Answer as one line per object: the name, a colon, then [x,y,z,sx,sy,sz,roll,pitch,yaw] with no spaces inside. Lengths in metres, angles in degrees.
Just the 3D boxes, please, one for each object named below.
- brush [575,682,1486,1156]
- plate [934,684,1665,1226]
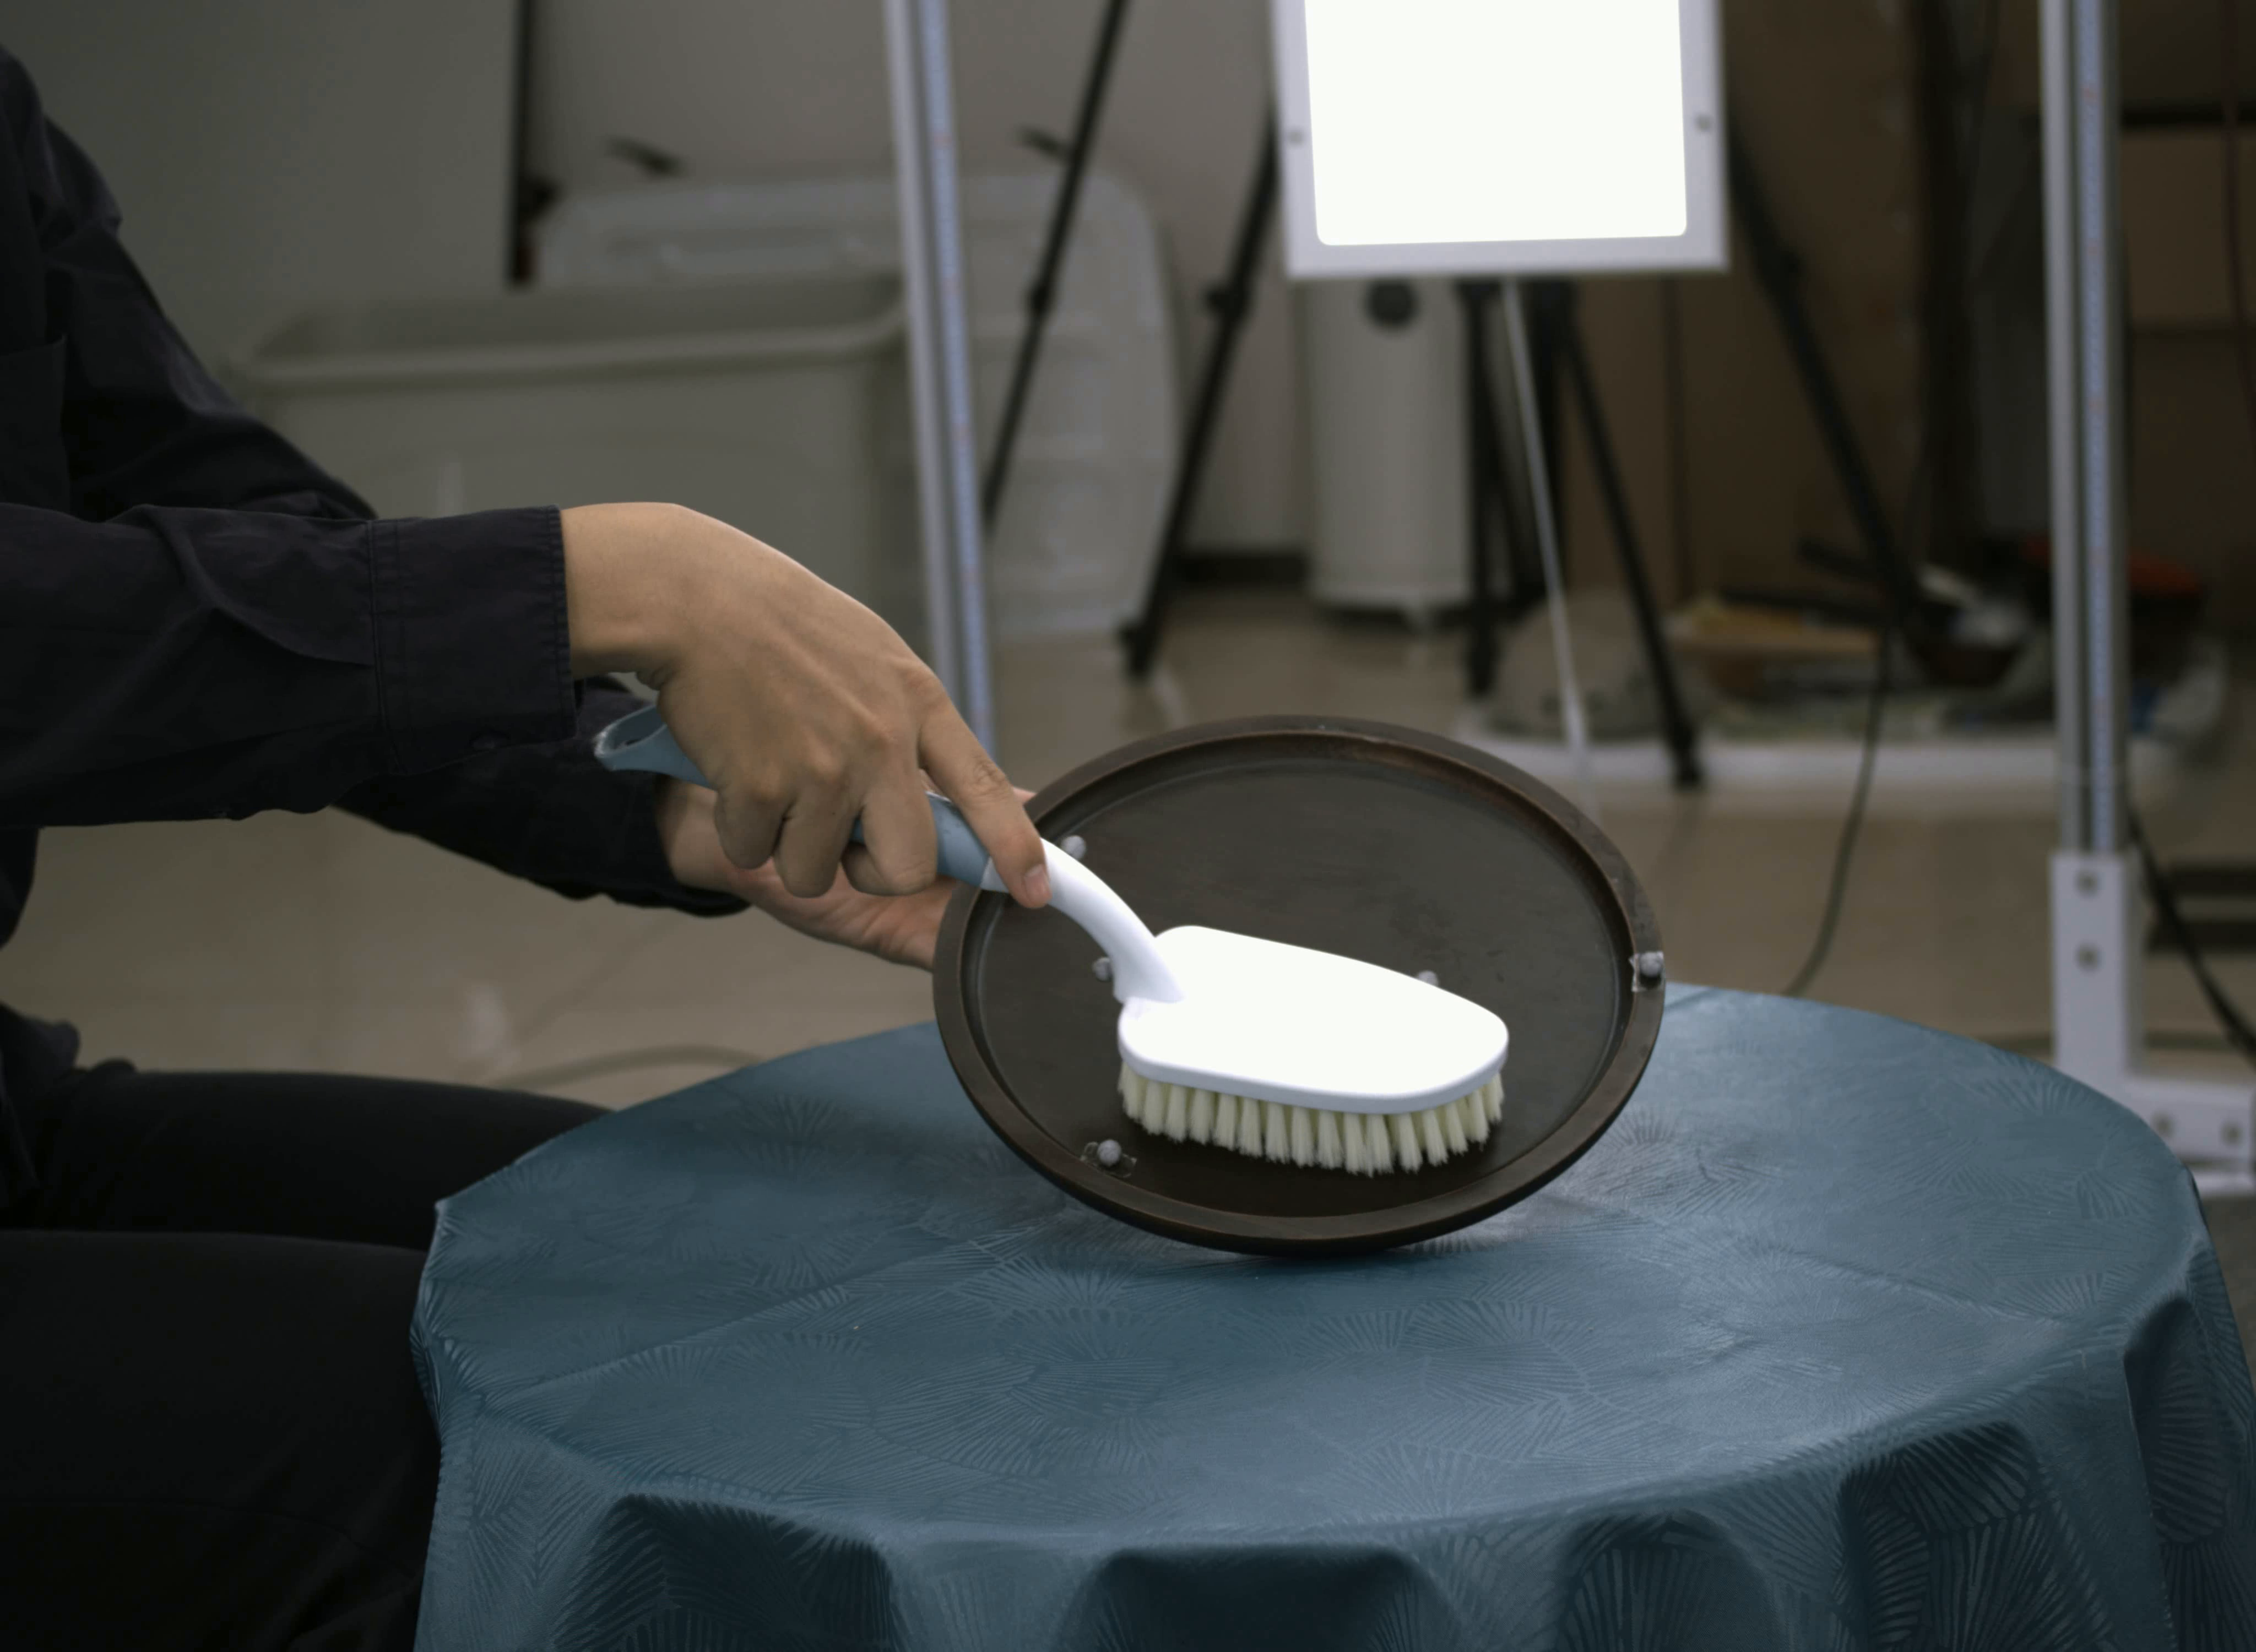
brush: [-0.036,0.037,1.846,0.325,0.085,0.082,20,8,2]
plate: [0.059,0.042,1.901,0.254,0.029,0.254,-3,46,2]
